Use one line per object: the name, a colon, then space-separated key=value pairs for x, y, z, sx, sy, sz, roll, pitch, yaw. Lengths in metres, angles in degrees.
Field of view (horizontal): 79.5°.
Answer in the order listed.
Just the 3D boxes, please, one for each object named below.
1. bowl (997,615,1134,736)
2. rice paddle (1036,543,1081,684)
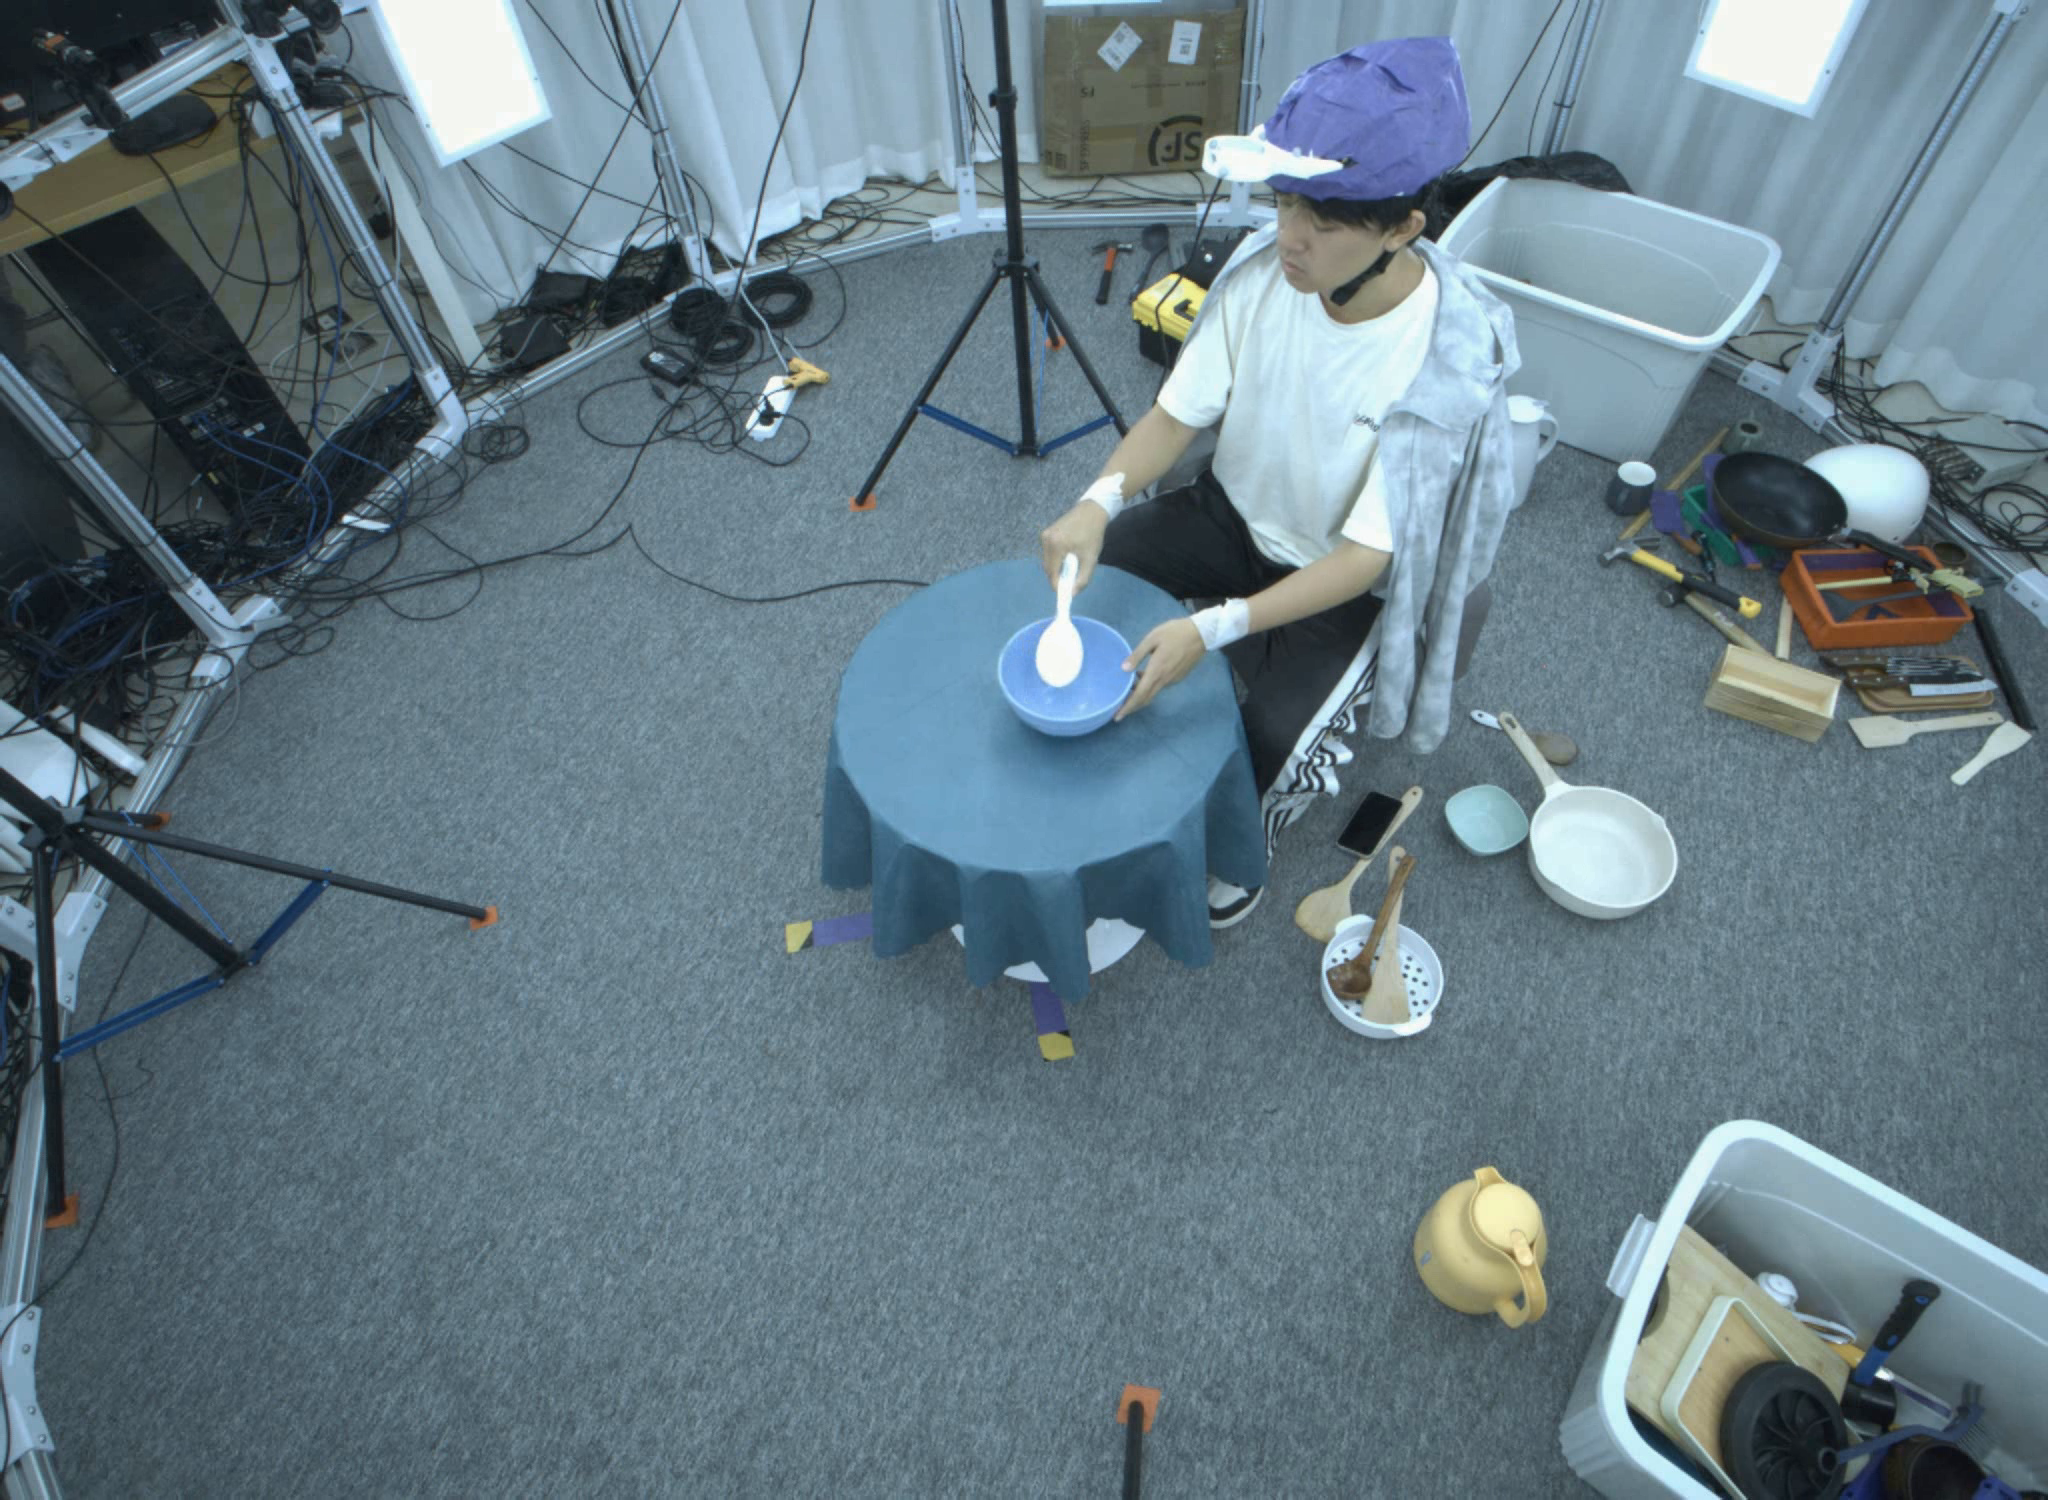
bowl: x=0.062 y=-0.093 z=1.793 sx=0.196 sy=0.096 sz=0.194 roll=-2 pitch=55 yaw=4
rice paddle: x=0.054 y=-0.197 z=1.784 sx=0.068 sy=0.030 sz=0.205 roll=4 pitch=87 yaw=18
